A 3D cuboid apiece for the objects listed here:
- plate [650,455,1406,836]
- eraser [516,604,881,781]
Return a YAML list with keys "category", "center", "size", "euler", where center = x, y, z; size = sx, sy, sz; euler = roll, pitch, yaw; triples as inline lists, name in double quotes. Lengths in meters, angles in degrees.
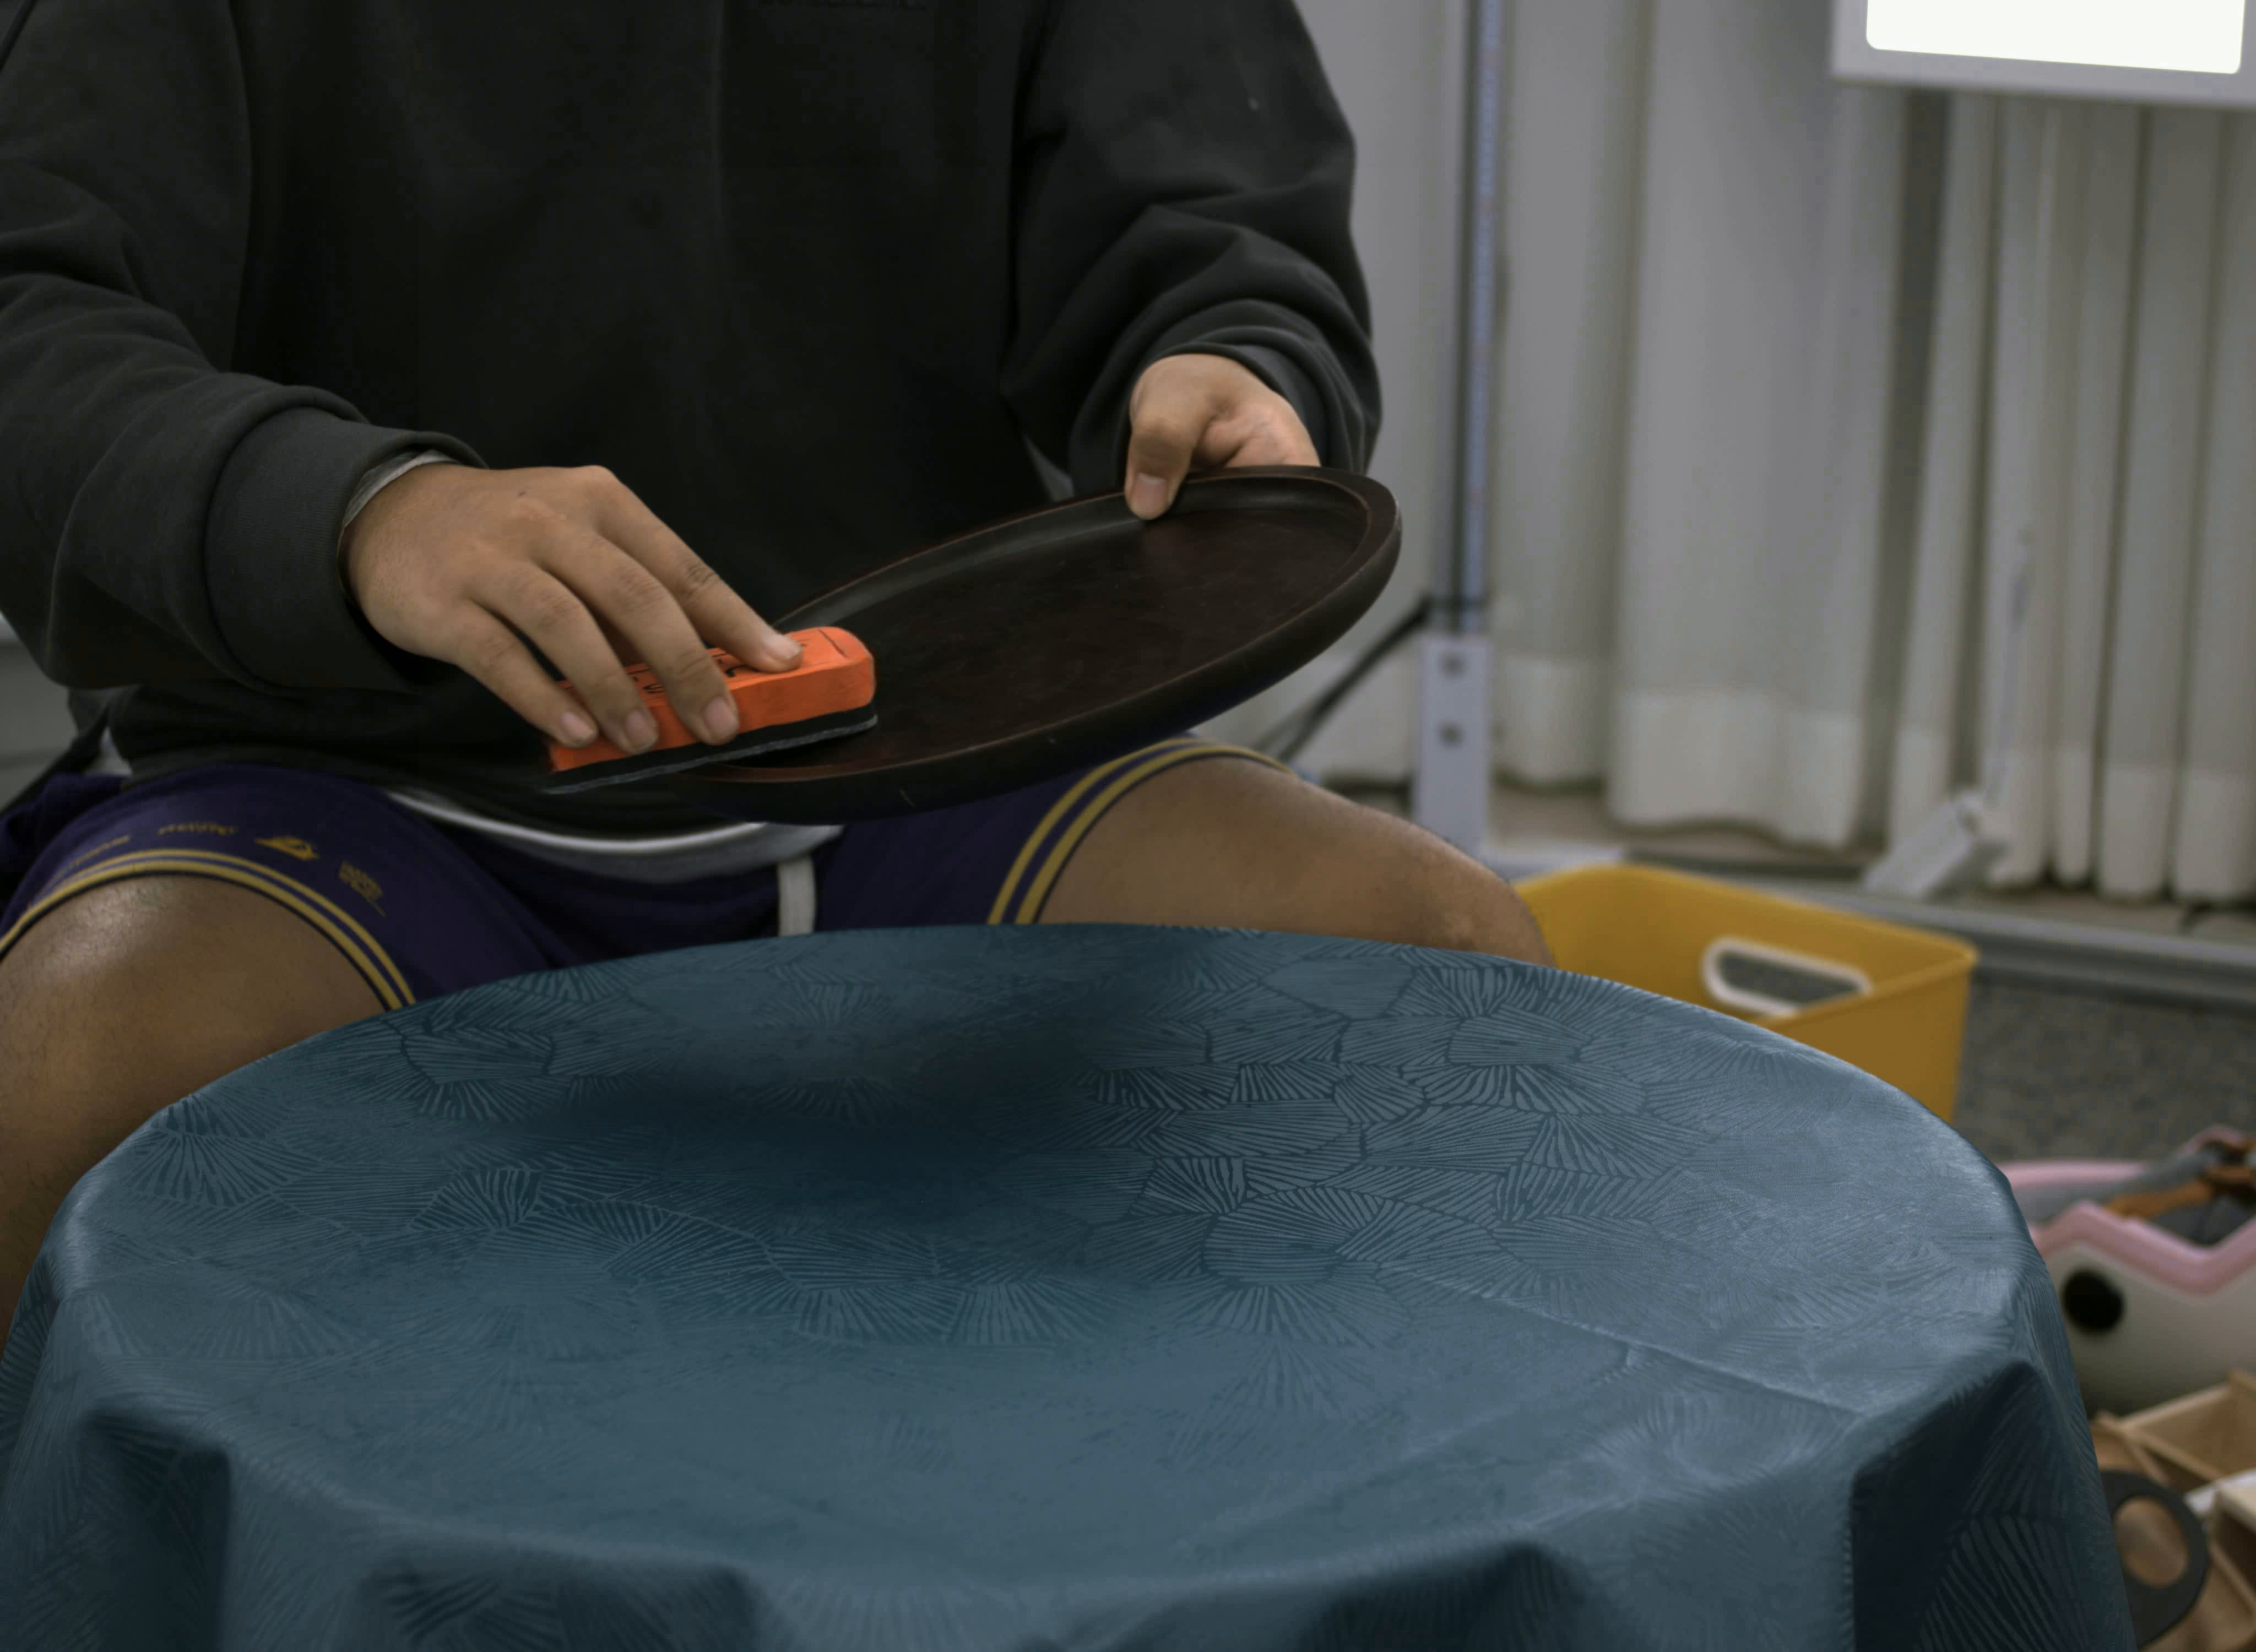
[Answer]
- category: "plate"
  center: [-0.031, -0.058, 1.677]
  size: [0.254, 0.029, 0.253]
  euler: [-17, 18, 7]
- category: "eraser"
  center: [-0.135, -0.042, 1.648]
  size: [0.108, 0.023, 0.058]
  euler: [-13, 21, -13]
